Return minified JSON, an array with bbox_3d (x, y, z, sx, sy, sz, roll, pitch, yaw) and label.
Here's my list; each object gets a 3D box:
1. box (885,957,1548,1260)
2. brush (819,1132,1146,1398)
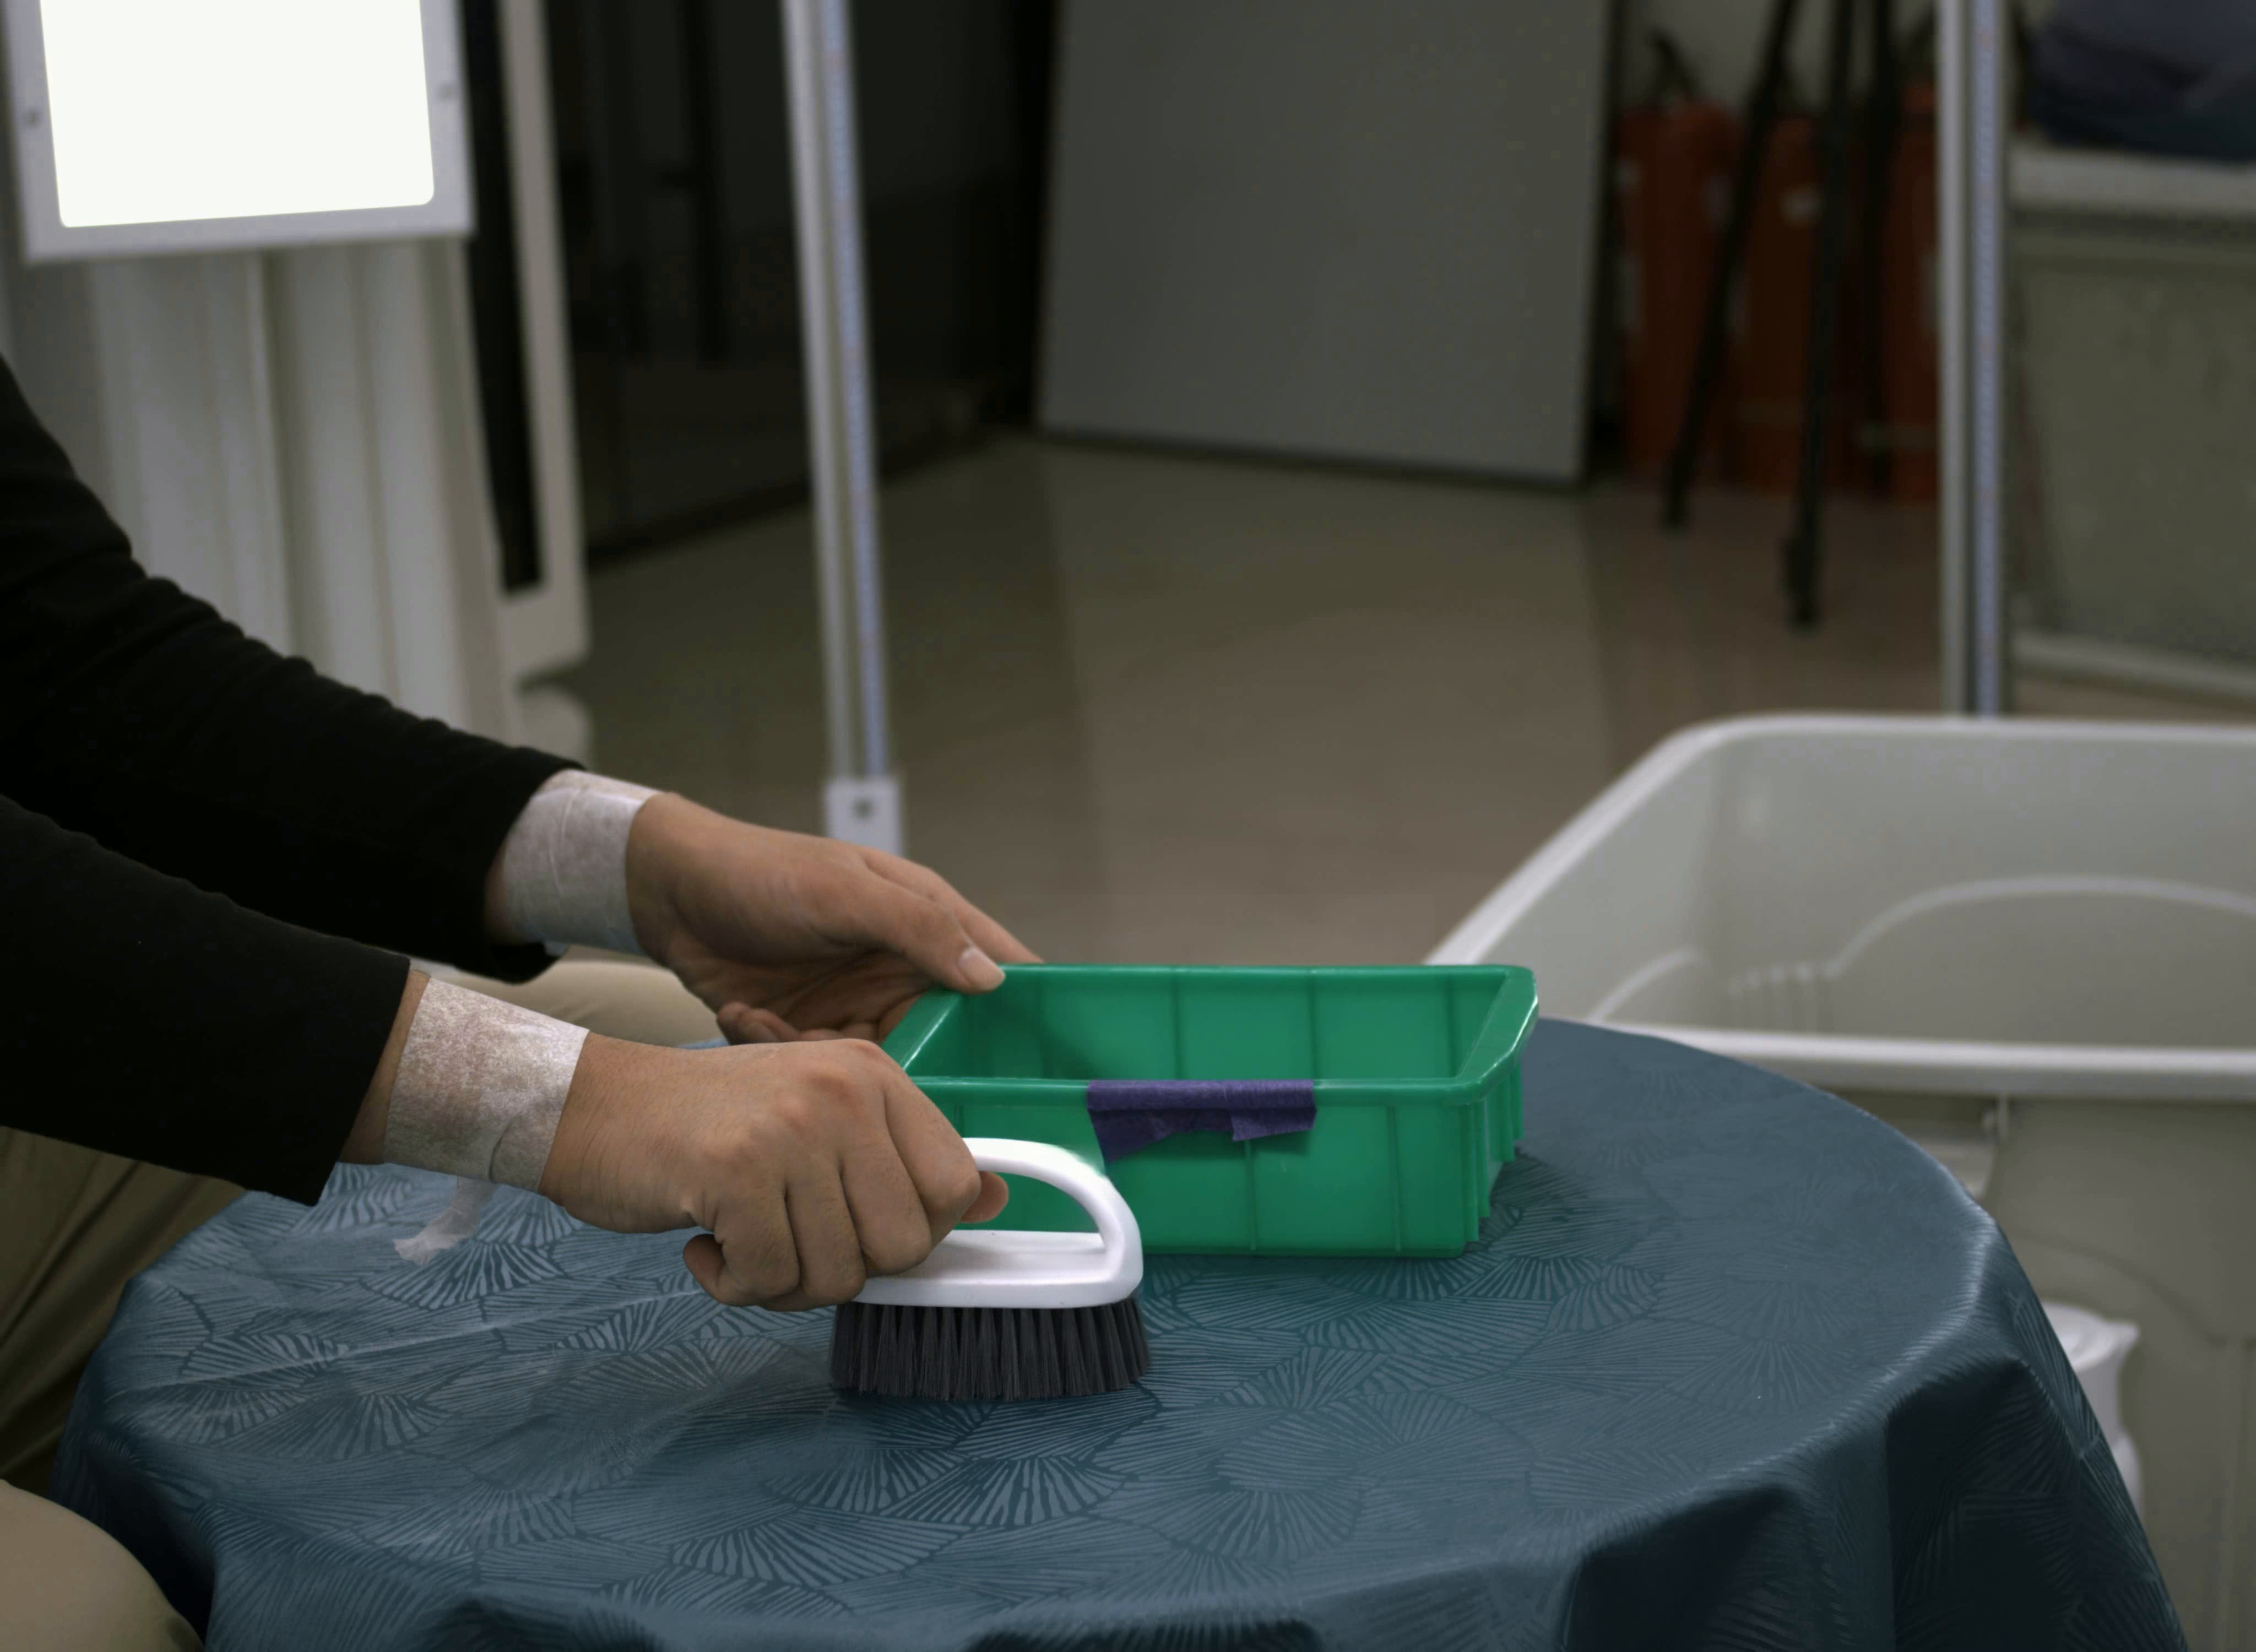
[{"bbox_3d":[0.032,0.091,1.751,0.209,0.066,0.138,0,16,12],"label":"box"},{"bbox_3d":[-0.044,0.127,1.603,0.099,0.073,0.050,0,15,17],"label":"brush"}]
